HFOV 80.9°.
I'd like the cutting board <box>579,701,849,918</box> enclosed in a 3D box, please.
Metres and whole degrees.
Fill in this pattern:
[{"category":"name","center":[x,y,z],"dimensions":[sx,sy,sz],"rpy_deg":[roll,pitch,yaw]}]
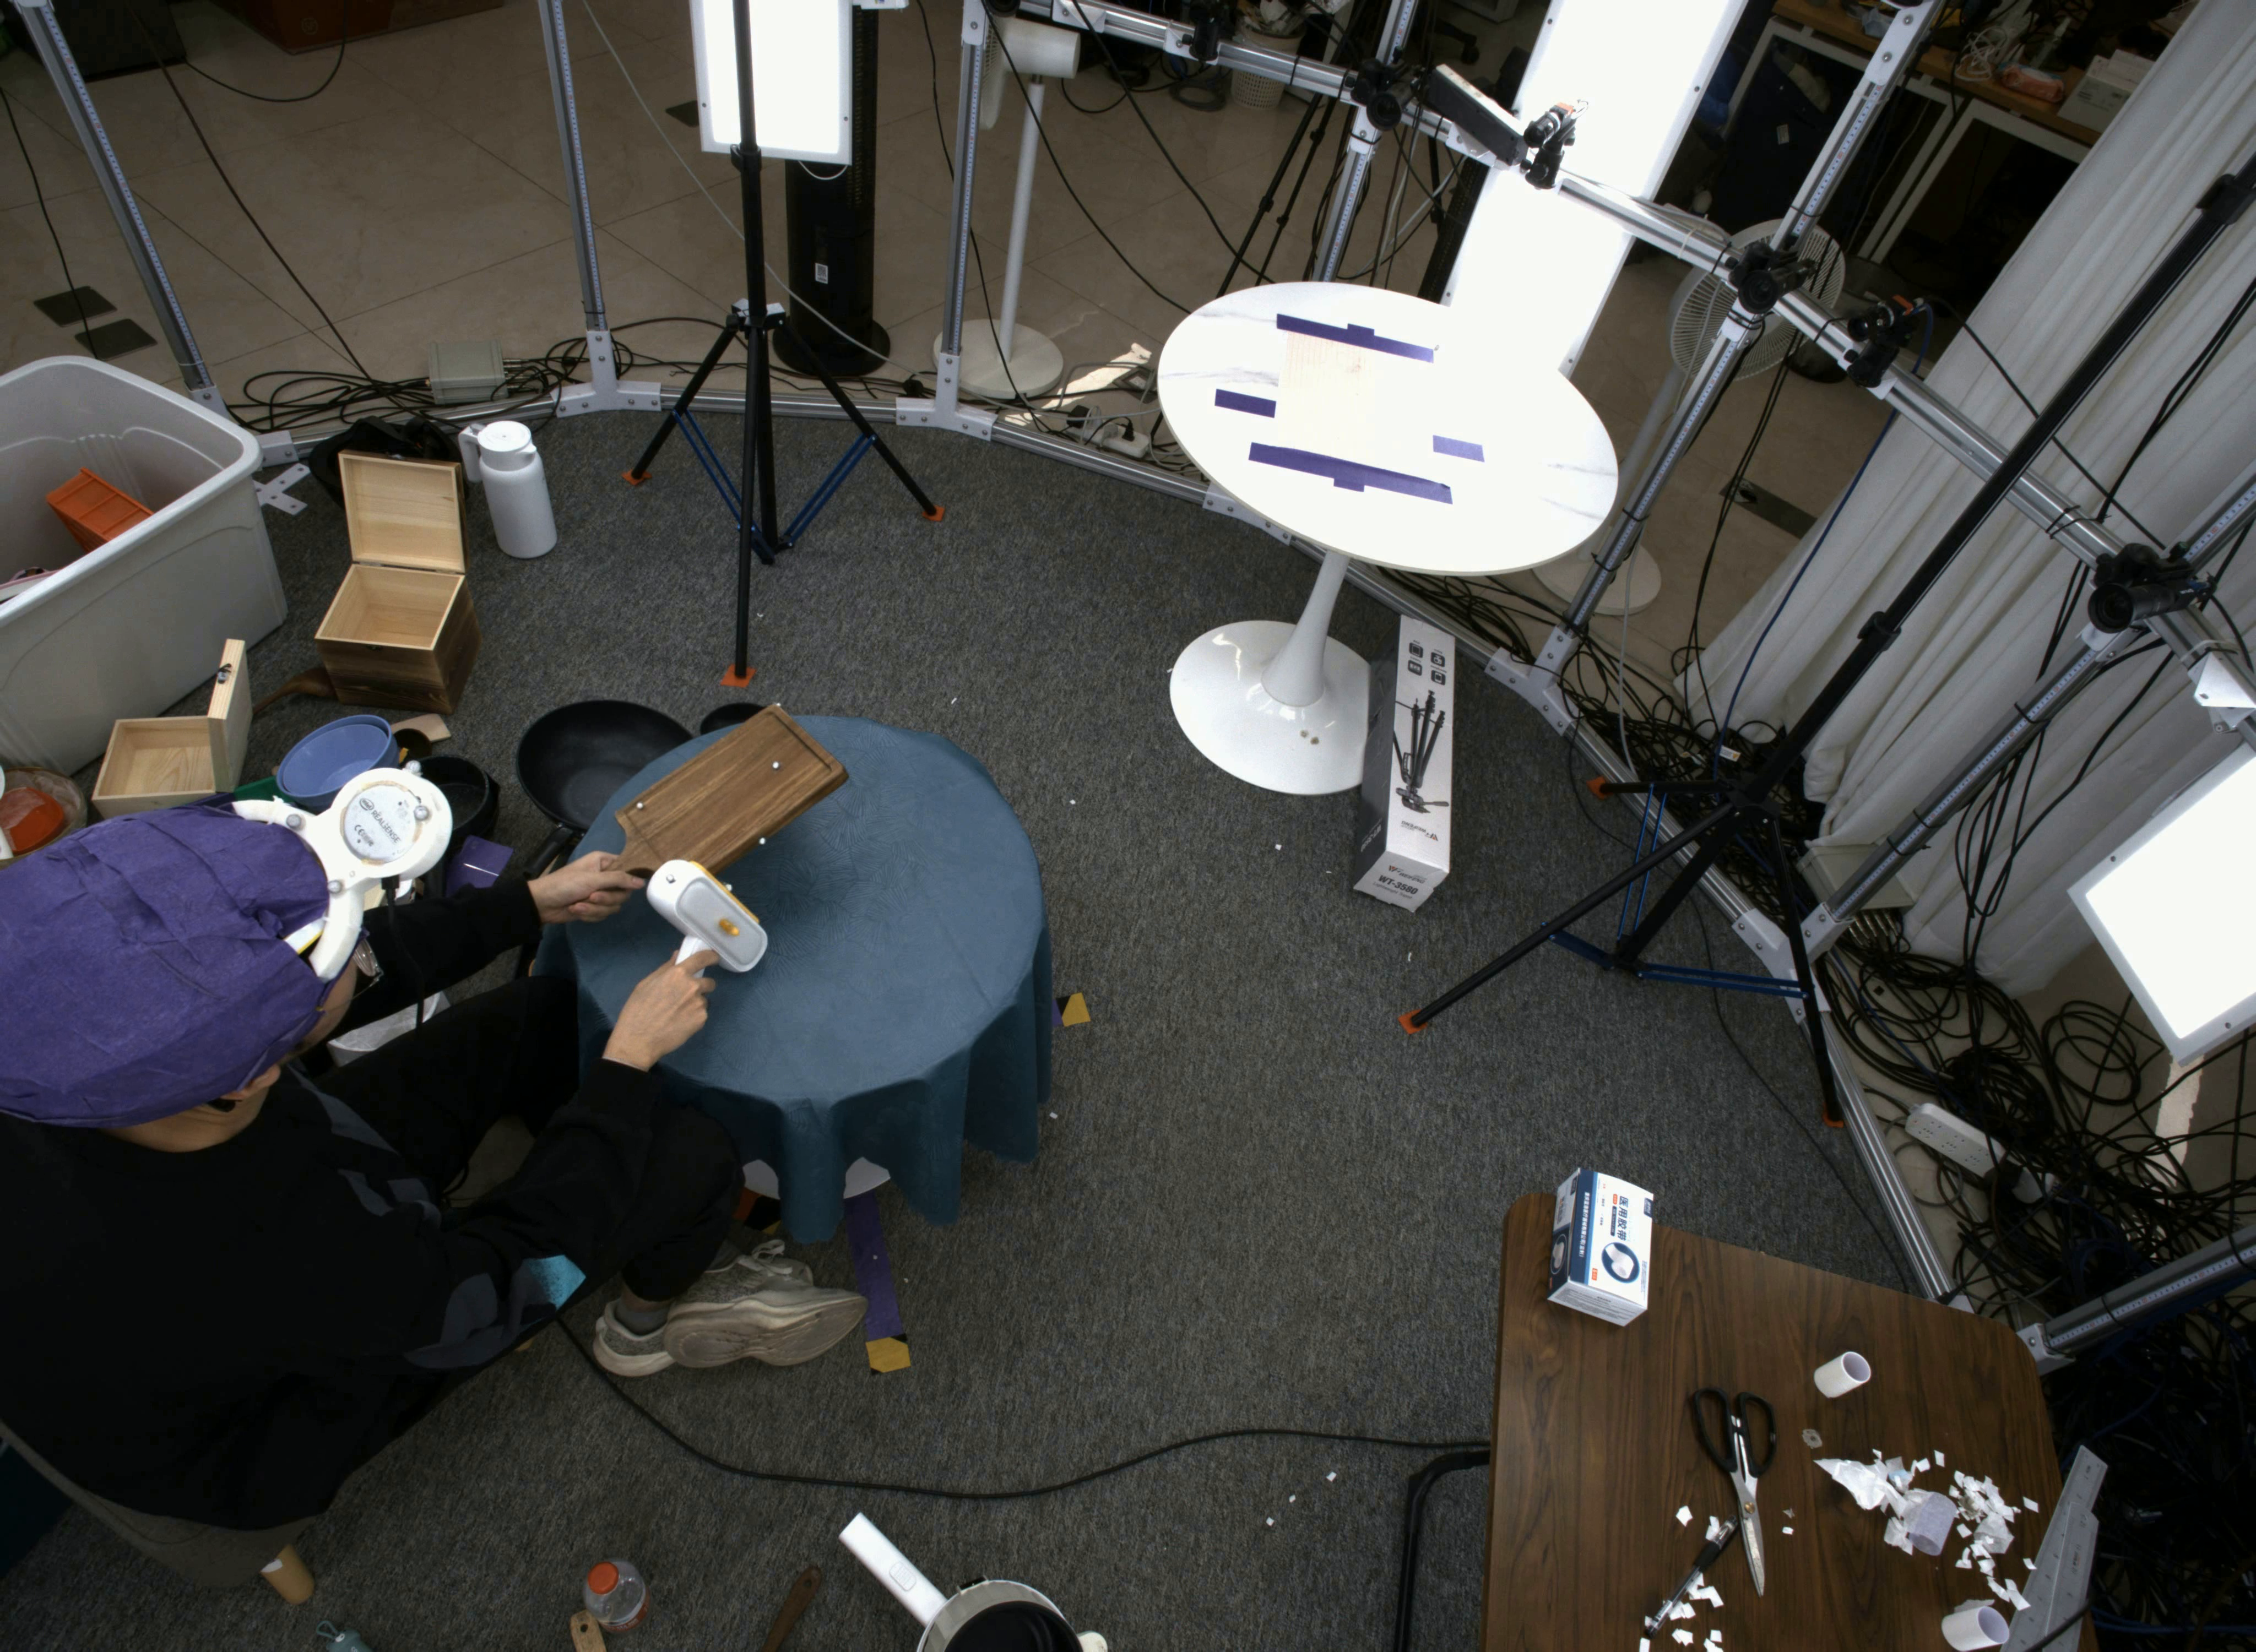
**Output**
[{"category":"cutting board","center":[-0.527,-0.009,1.575],"dimensions":[0.352,0.024,0.193],"rpy_deg":[-39,52,-17]}]

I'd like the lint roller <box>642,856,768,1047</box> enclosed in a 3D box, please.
[{"category":"lint roller","center":[-0.503,0.154,1.481],"dimensions":[0.072,0.199,0.192],"rpy_deg":[14,68,21]}]
